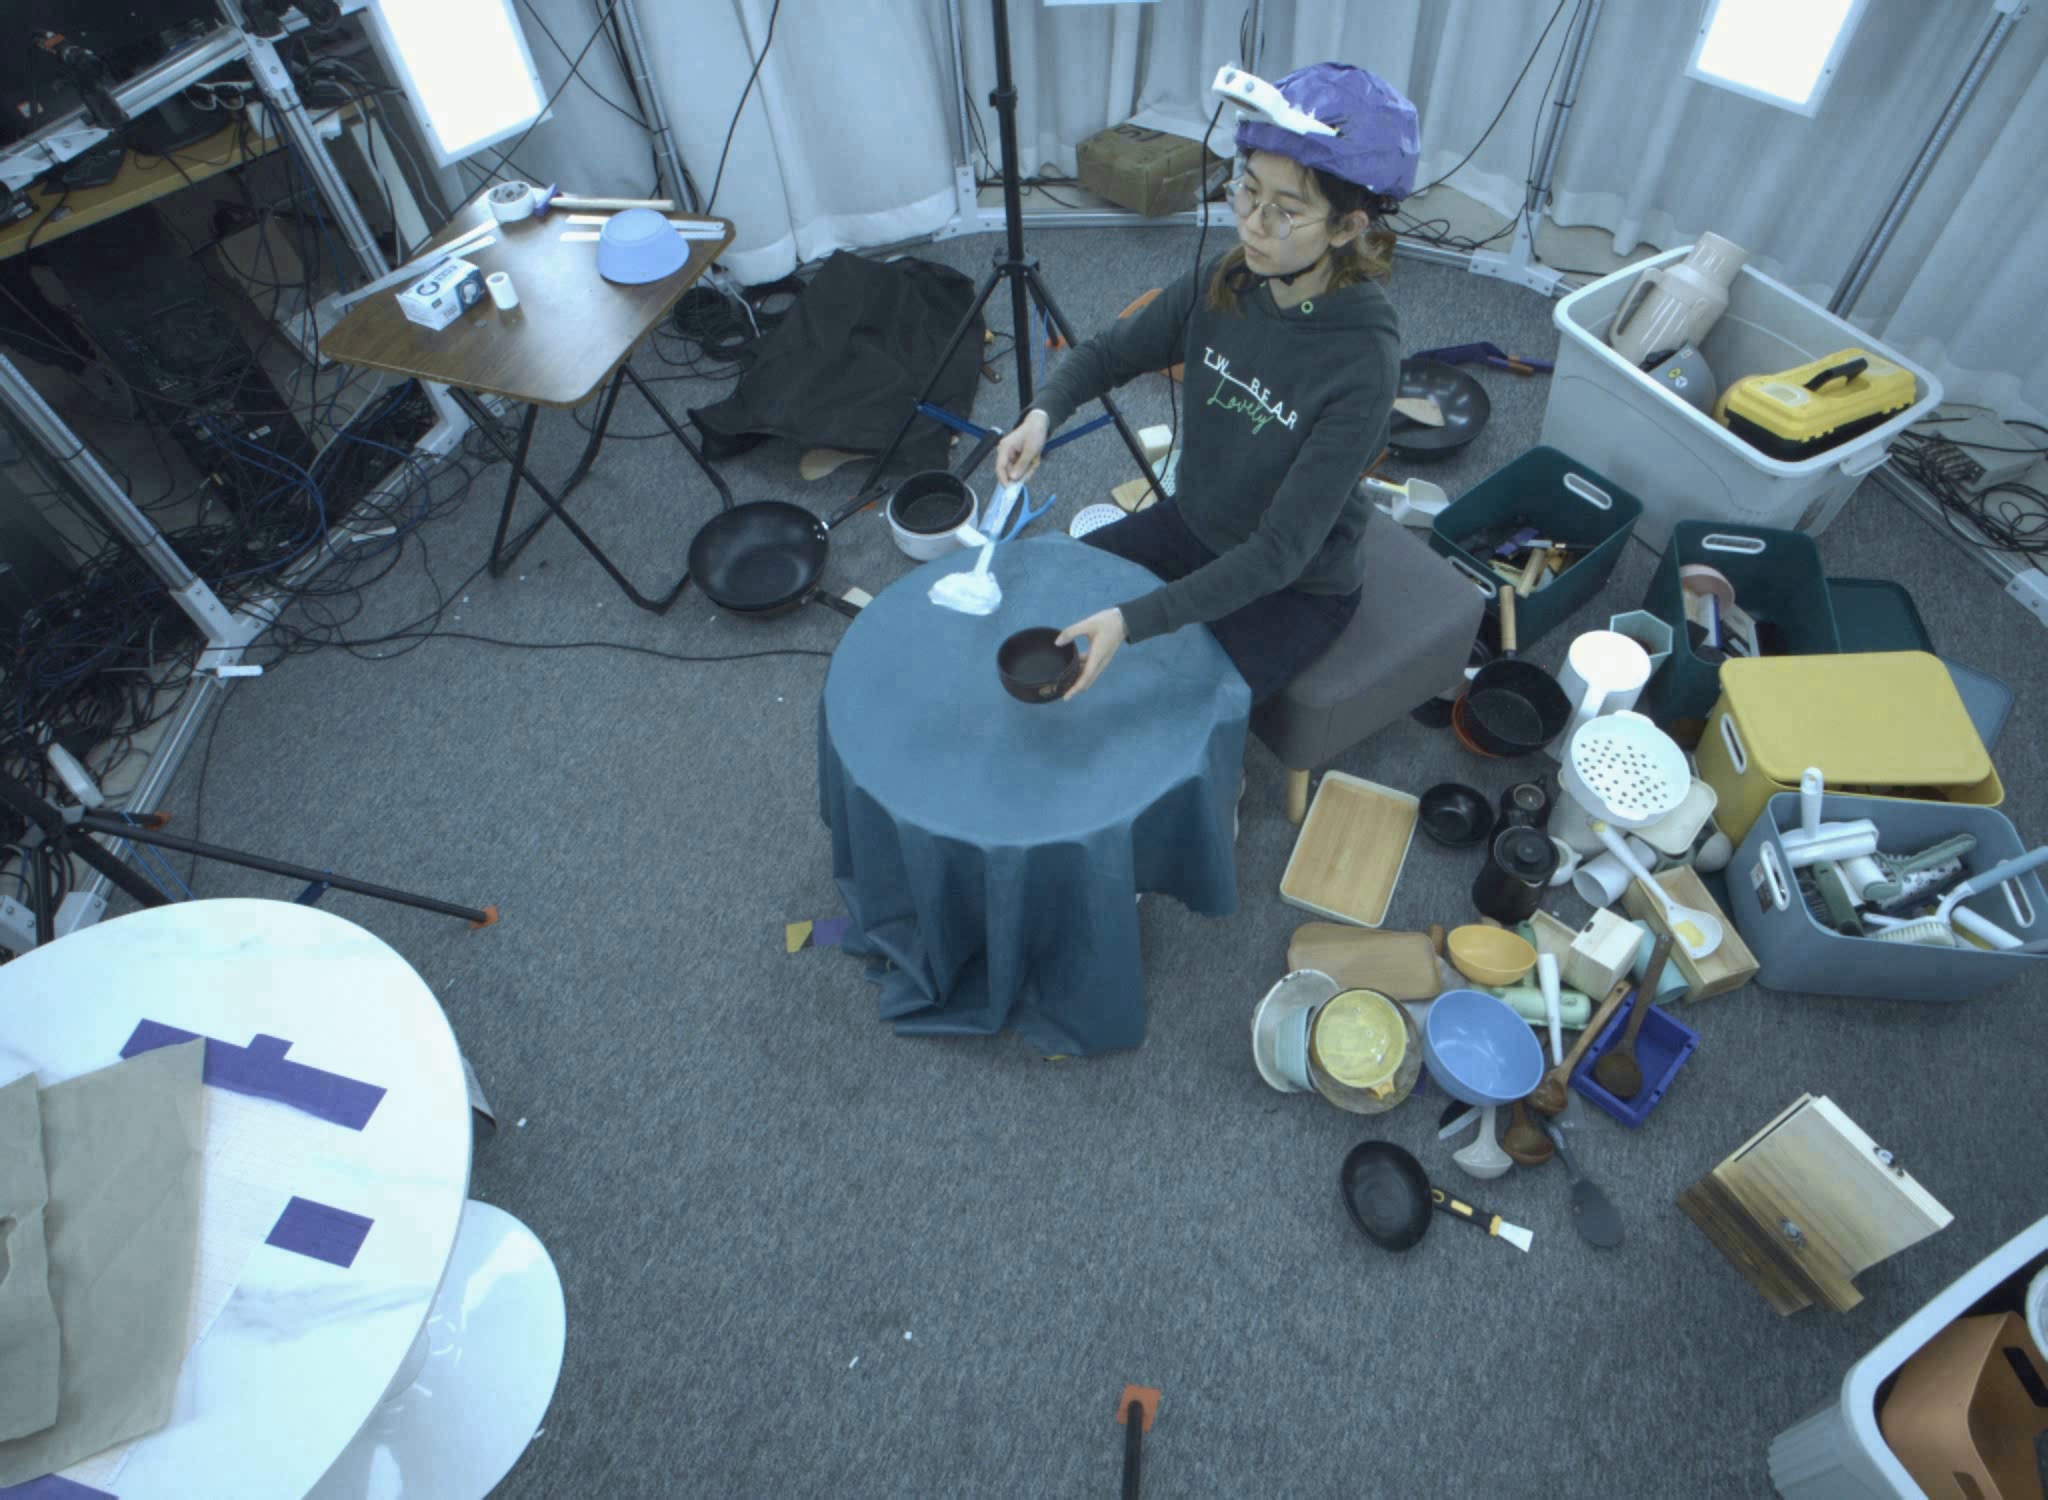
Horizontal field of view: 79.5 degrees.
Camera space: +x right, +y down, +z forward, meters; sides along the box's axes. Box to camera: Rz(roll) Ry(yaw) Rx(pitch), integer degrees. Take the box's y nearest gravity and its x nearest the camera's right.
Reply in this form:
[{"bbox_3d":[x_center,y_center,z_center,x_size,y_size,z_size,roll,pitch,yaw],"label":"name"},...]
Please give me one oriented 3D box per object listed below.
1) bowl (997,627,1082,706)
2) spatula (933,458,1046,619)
[{"bbox_3d":[0.024,-0.109,1.735,0.118,0.071,0.117,-3,50,4],"label":"bowl"},{"bbox_3d":[-0.033,-0.322,1.794,0.098,0.045,0.364,16,60,8],"label":"spatula"}]
